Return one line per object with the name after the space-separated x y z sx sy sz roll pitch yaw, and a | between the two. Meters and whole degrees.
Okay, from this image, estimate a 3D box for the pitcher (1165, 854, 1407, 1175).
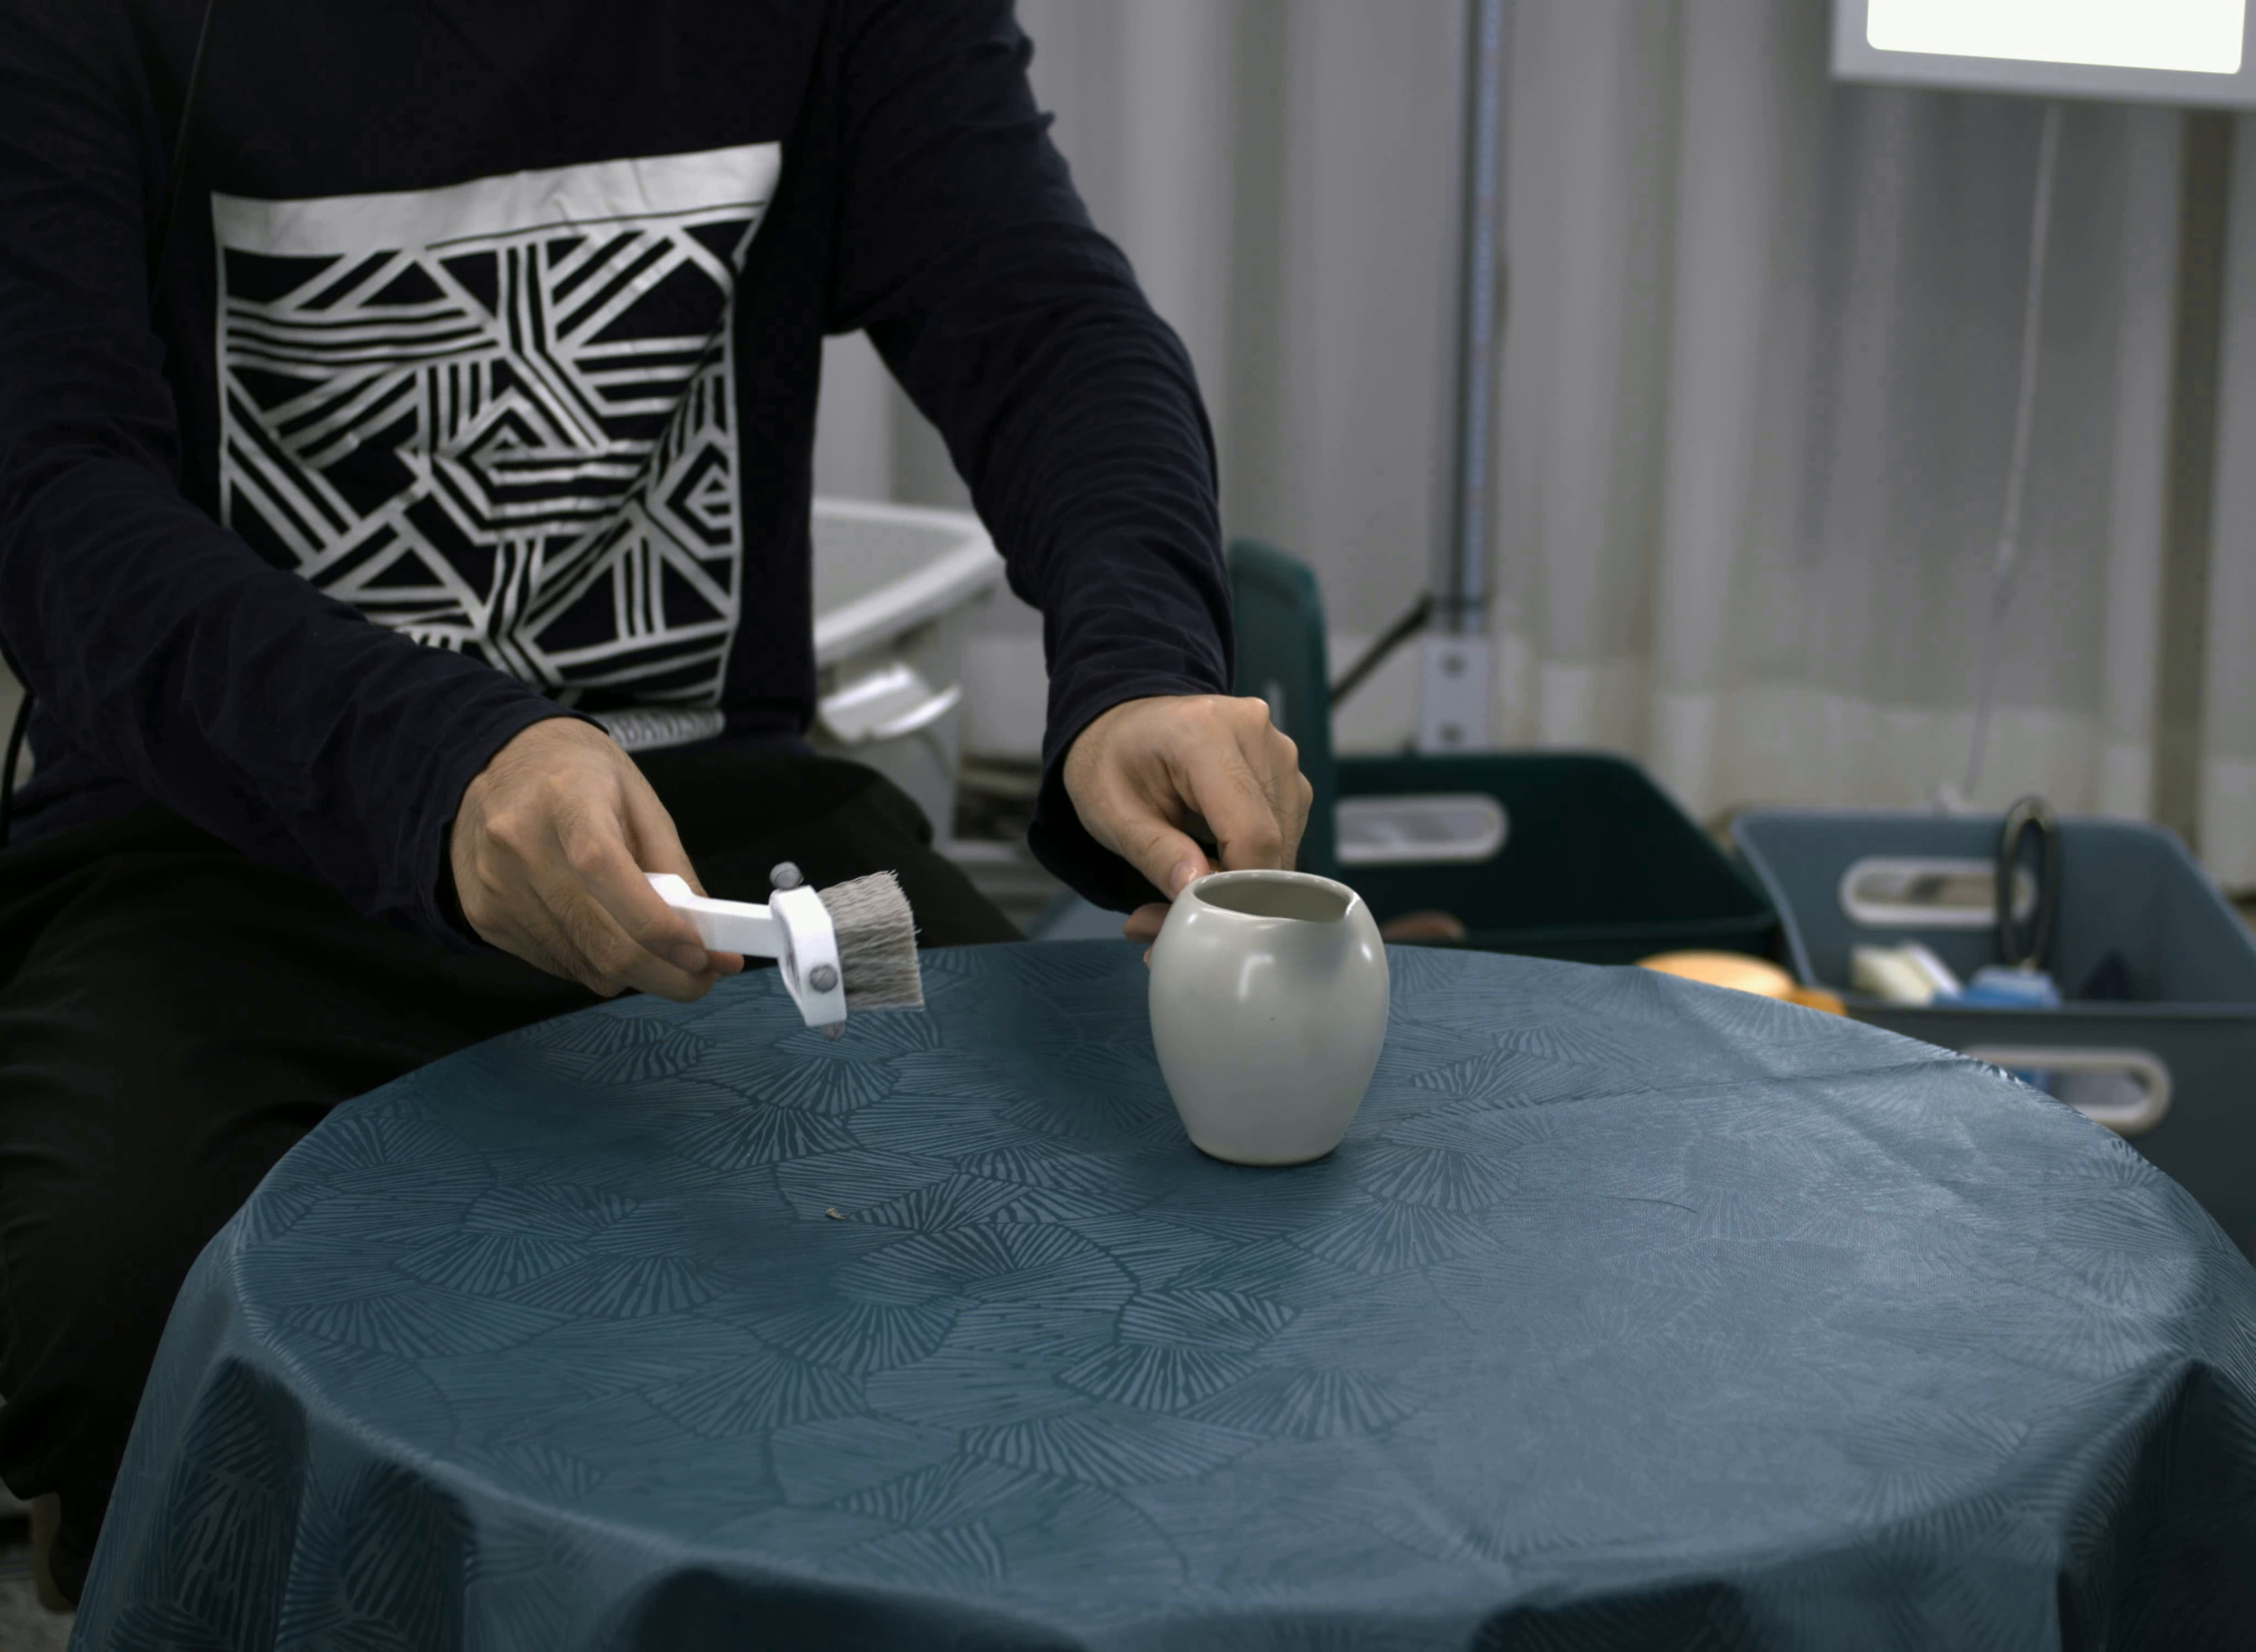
0.046 0.058 1.655 0.076 0.088 0.118 -1 19 -22 | pitcher

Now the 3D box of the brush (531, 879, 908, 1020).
-0.126 0.032 1.647 0.050 0.034 0.241 -13 9 -25 | brush
